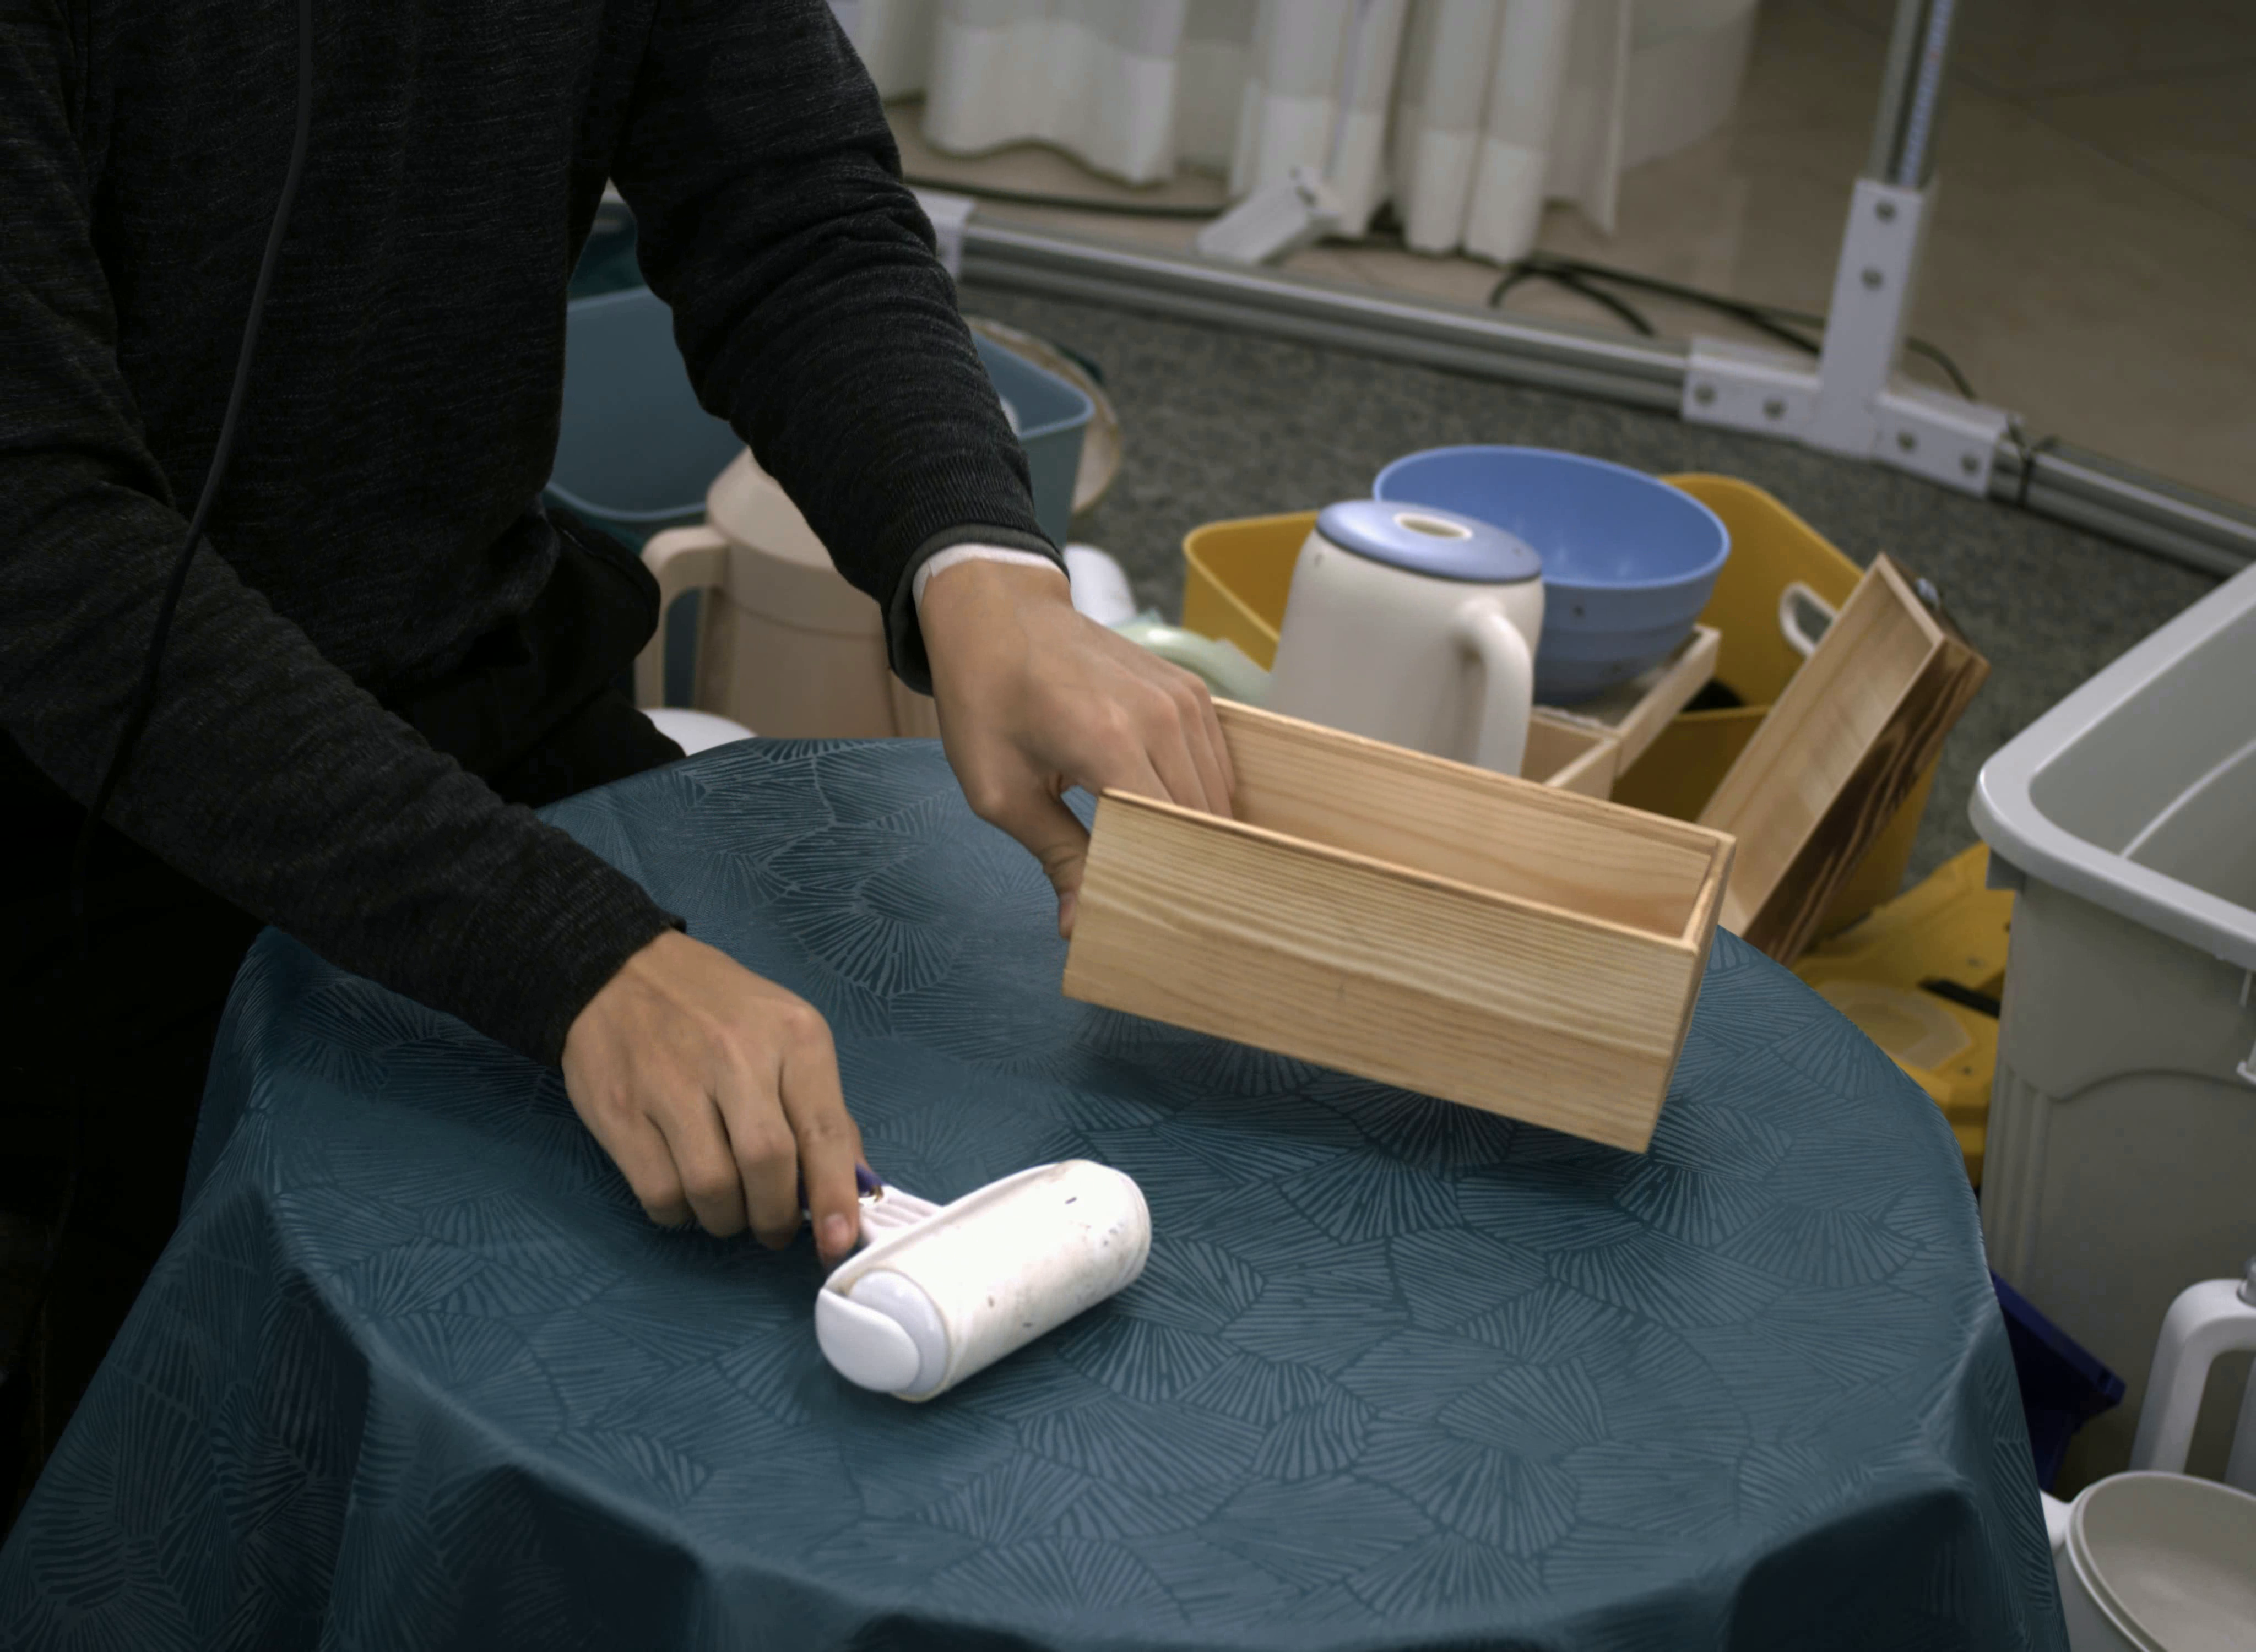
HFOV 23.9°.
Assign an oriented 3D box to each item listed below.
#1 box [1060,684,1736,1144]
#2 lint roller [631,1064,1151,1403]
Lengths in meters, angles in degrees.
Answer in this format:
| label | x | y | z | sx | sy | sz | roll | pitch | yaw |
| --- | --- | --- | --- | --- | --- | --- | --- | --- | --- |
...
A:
| label | x | y | z | sx | sy | sz | roll | pitch | yaw |
| --- | --- | --- | --- | --- | --- | --- | --- | --- | --- |
| box | 0.095 | 0.029 | 1.857 | 0.211 | 0.080 | 0.108 | 14 | 25 | 10 |
| lint roller | -0.091 | 0.112 | 1.732 | 0.182 | 0.050 | 0.132 | 35 | 39 | 28 |
